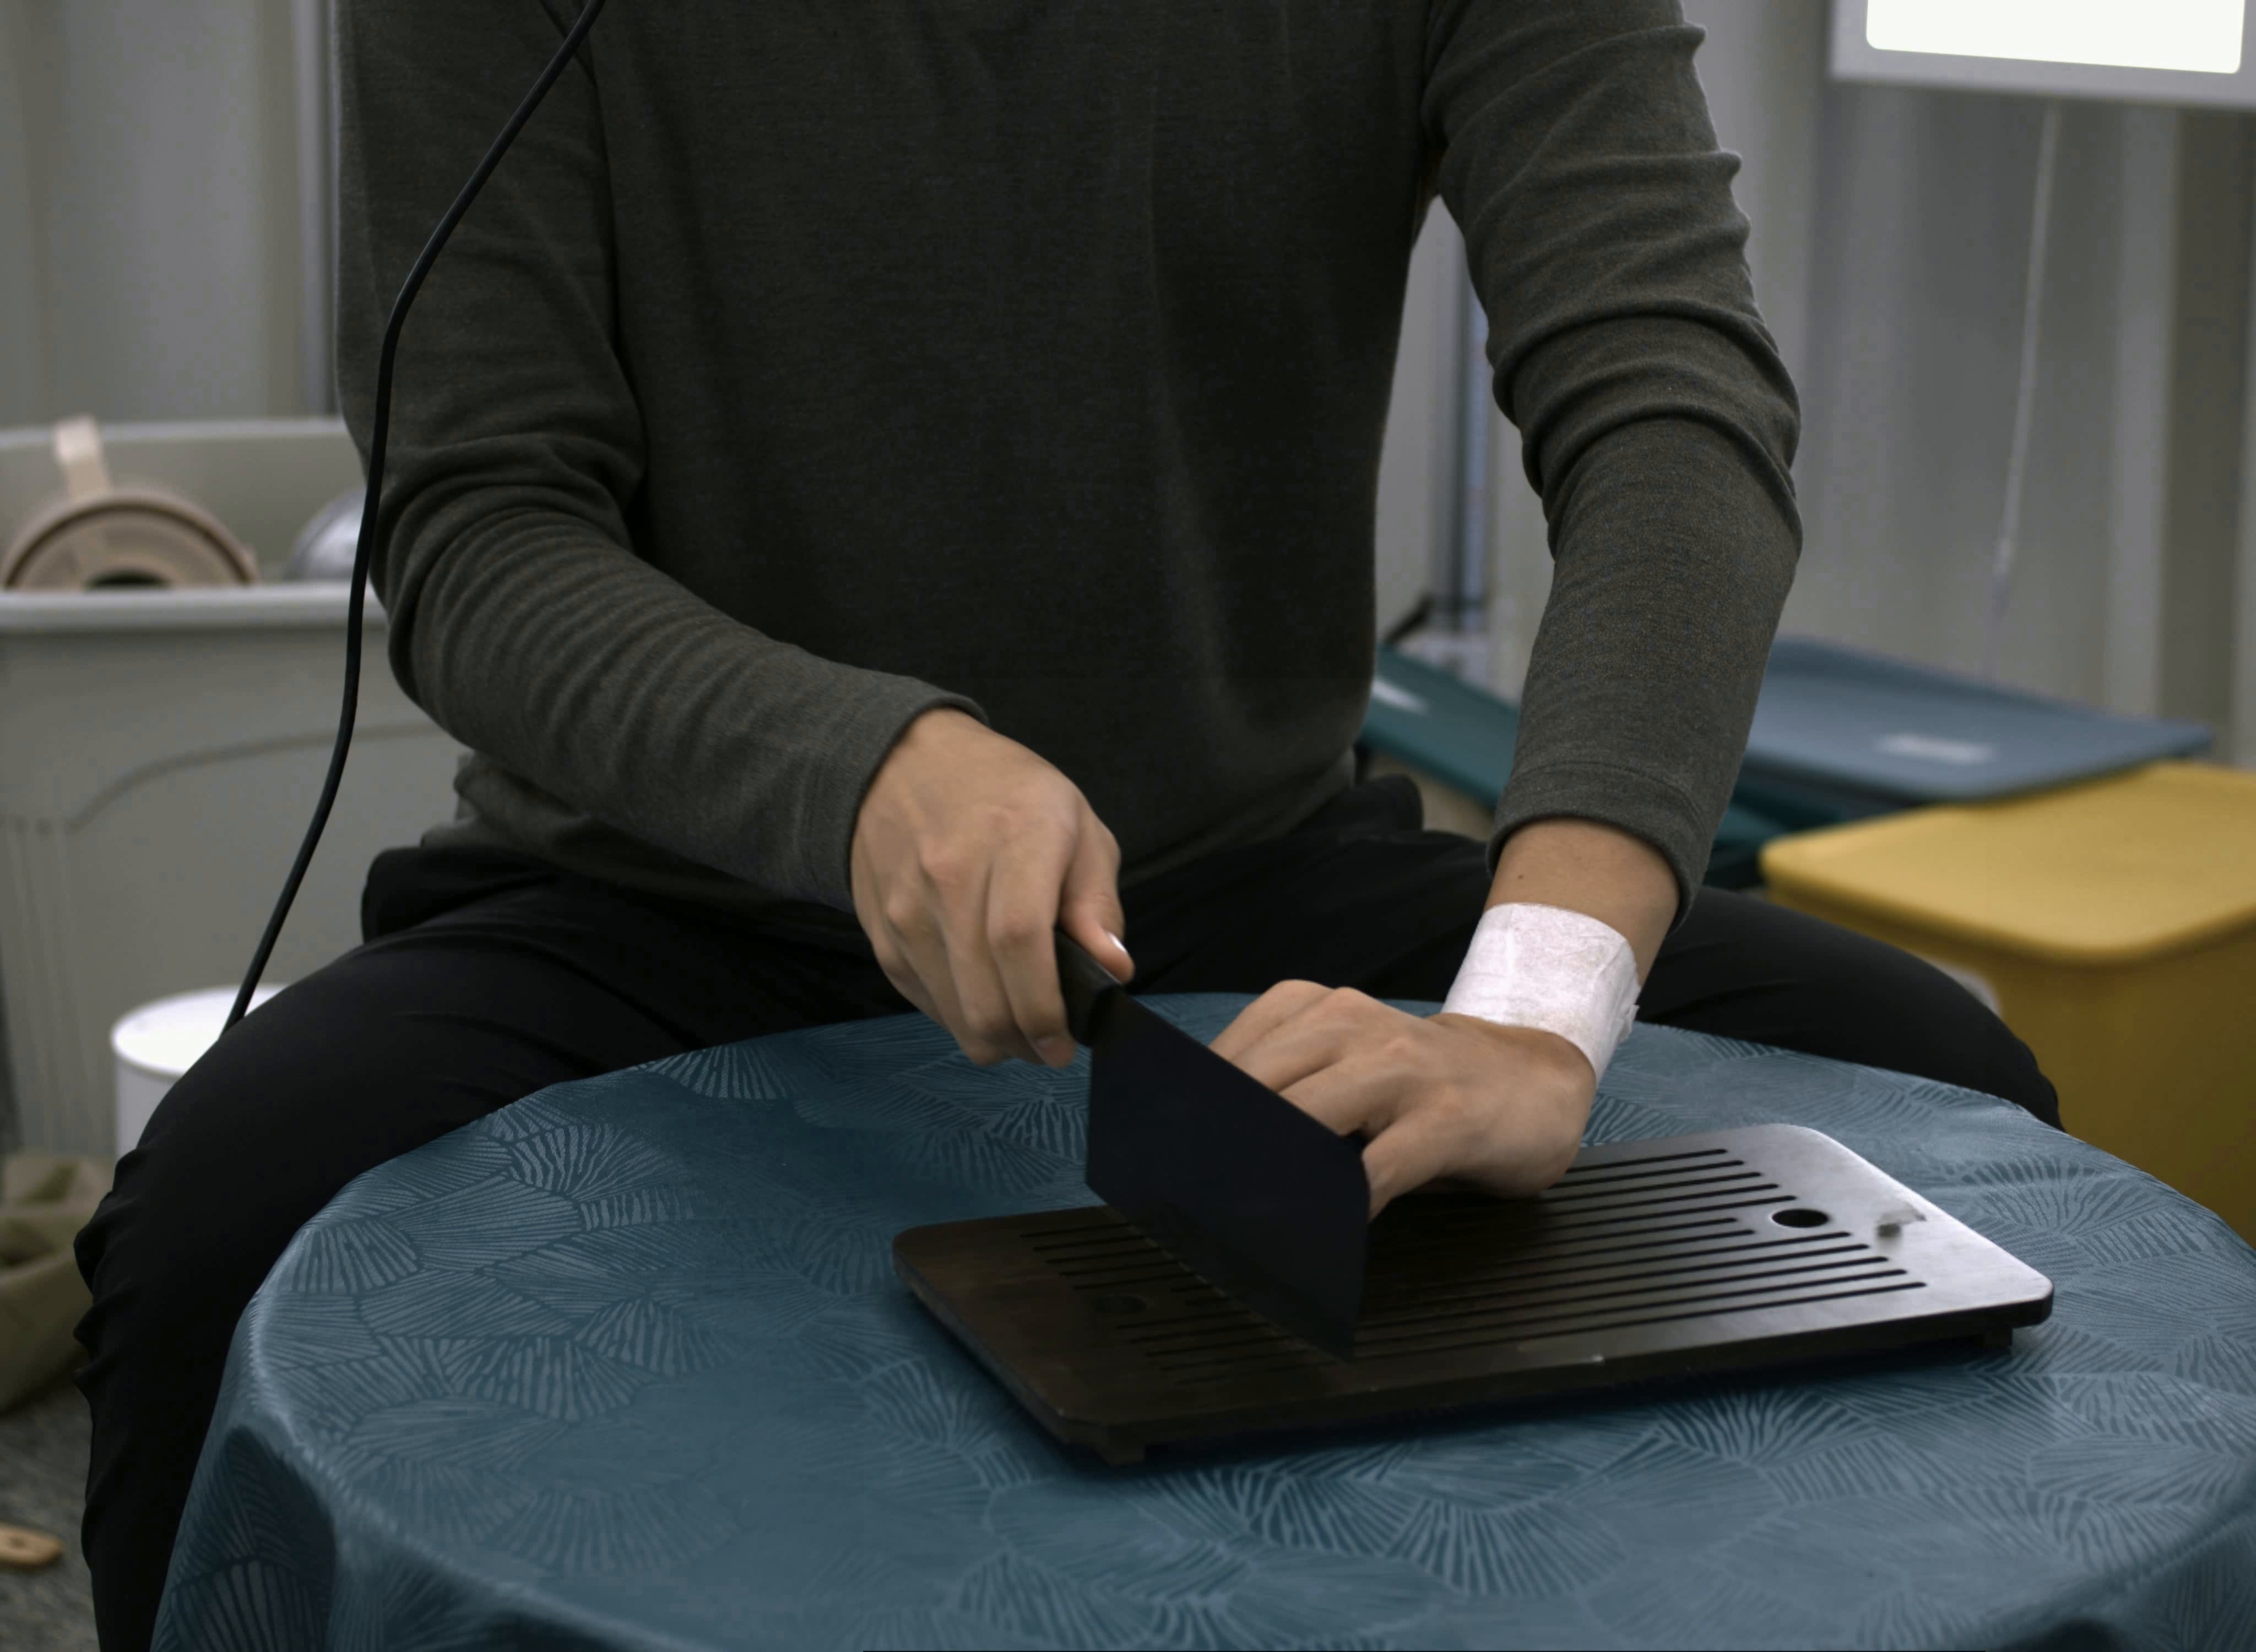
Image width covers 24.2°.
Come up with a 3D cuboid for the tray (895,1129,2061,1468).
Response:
[{"bbox_3d":[0.099,0.133,1.517,0.307,0.019,0.168,-5,15,-20],"label":"tray"}]

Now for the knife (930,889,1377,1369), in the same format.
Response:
[{"bbox_3d":[0.005,0.080,1.533,0.021,0.081,0.298,-1,19,-25],"label":"knife"}]
